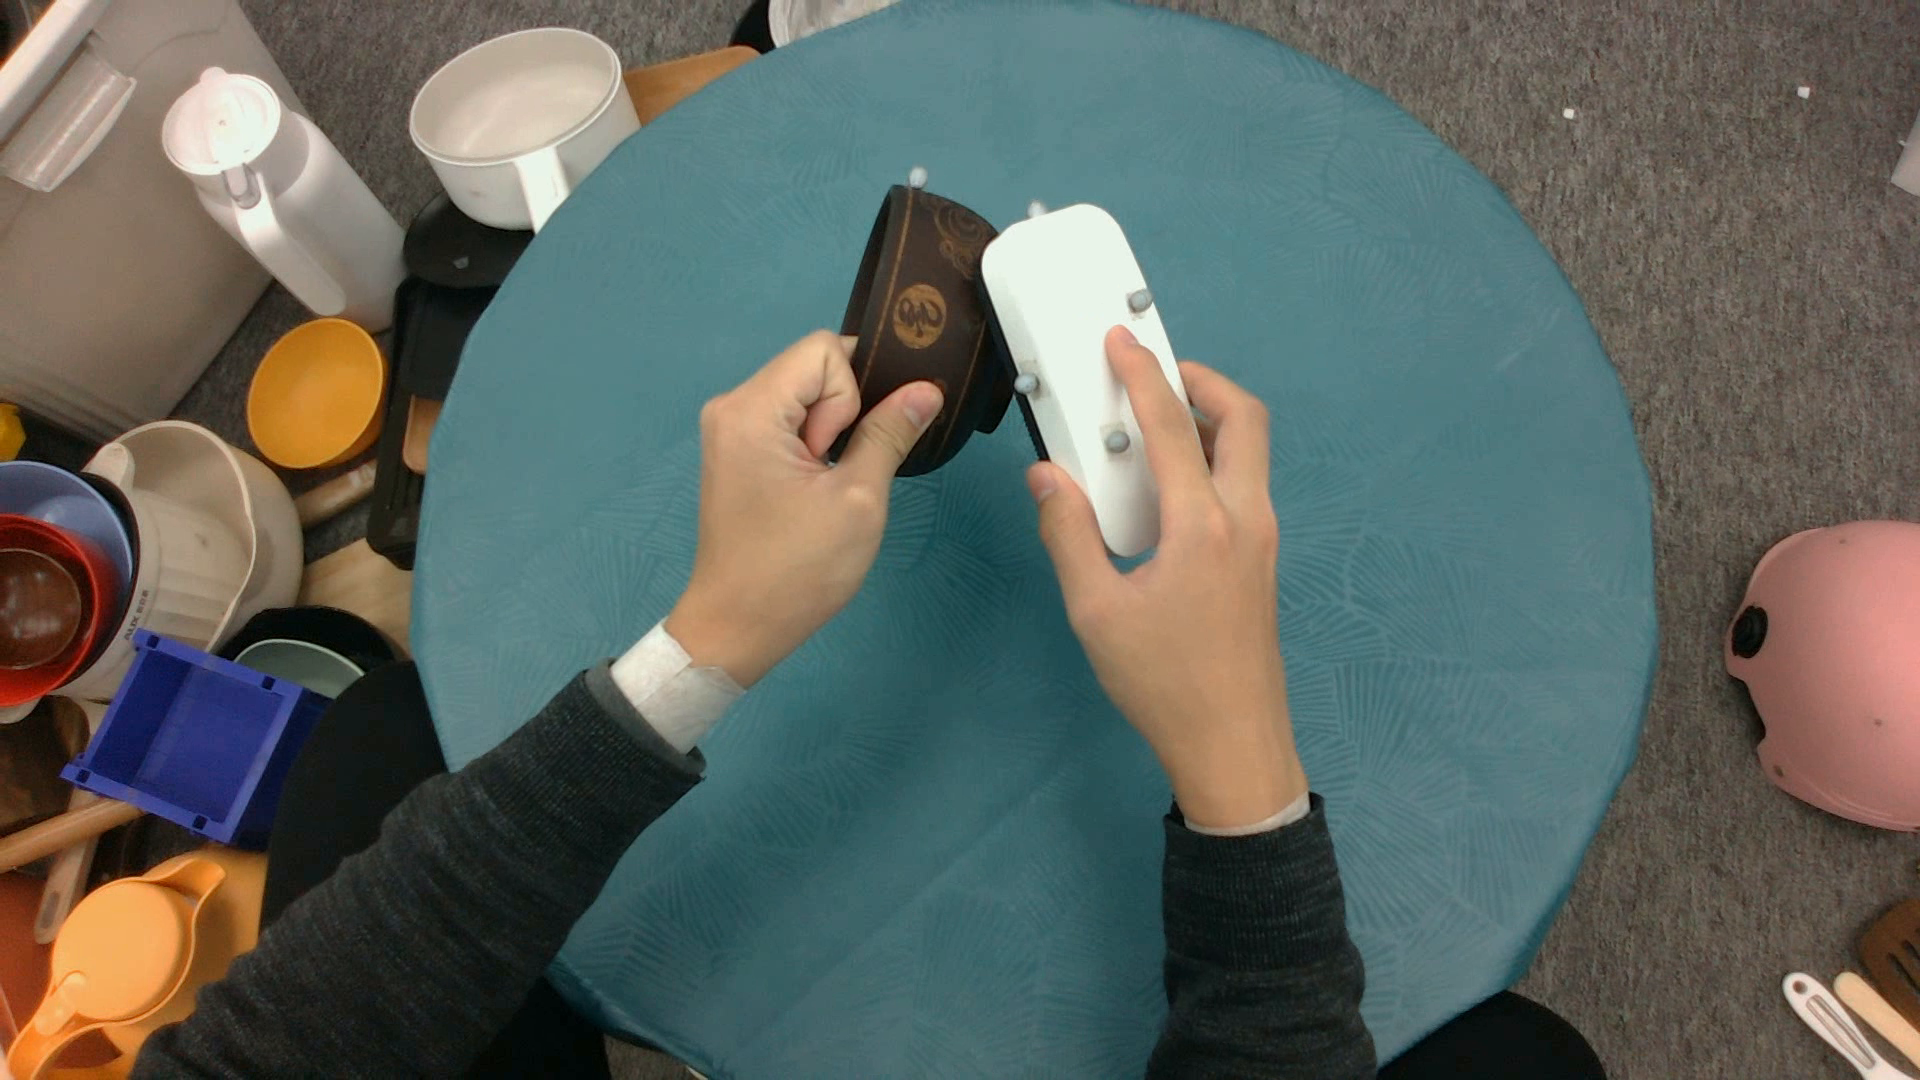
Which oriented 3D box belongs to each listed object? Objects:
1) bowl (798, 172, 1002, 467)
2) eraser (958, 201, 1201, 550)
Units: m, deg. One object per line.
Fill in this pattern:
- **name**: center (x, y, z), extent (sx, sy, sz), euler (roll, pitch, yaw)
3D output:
- **bowl**: center (-0.018, -0.086, 0.571), extent (0.070, 0.117, 0.118), euler (15, 71, -13)
- **eraser**: center (0.046, -0.062, 0.527), extent (0.063, 0.034, 0.131), euler (-24, 95, -32)
